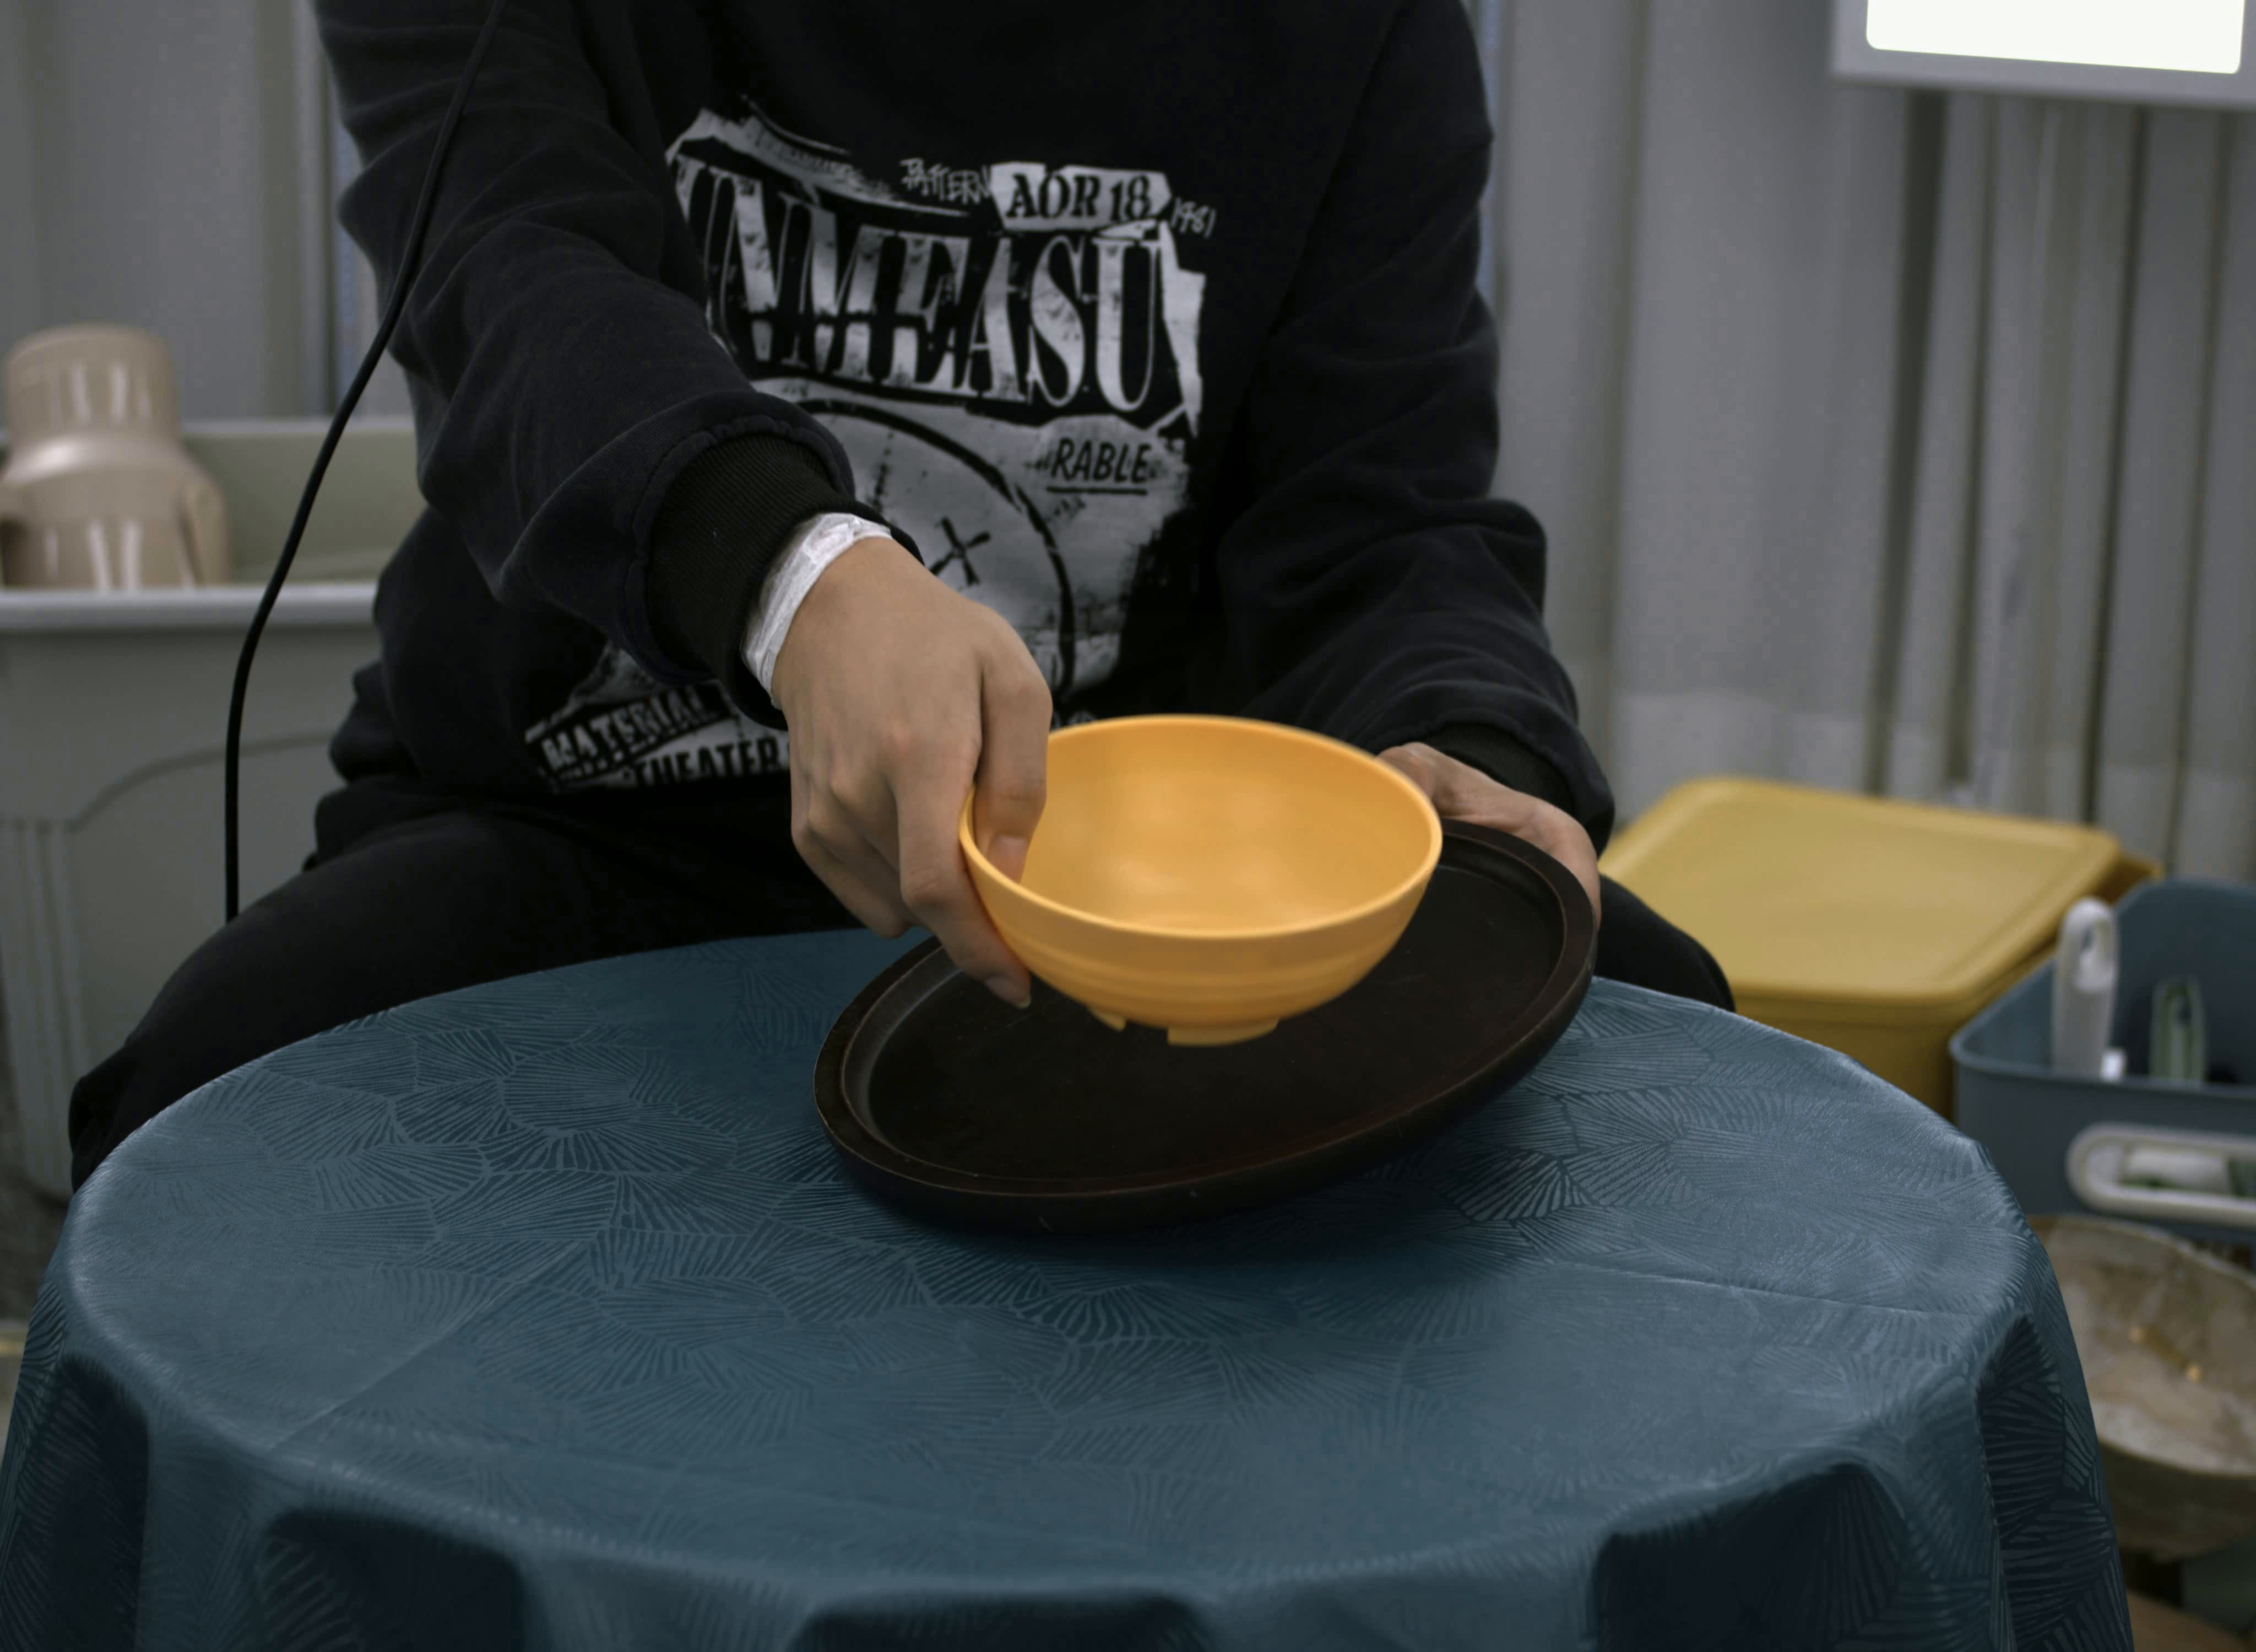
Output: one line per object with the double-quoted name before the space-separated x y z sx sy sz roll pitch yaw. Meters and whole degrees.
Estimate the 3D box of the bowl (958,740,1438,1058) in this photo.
"bowl" 0.019 0.029 1.572 0.145 0.060 0.144 4 24 -1

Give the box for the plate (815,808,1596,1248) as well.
"plate" 0.025 0.061 1.659 0.253 0.029 0.253 -13 24 7
